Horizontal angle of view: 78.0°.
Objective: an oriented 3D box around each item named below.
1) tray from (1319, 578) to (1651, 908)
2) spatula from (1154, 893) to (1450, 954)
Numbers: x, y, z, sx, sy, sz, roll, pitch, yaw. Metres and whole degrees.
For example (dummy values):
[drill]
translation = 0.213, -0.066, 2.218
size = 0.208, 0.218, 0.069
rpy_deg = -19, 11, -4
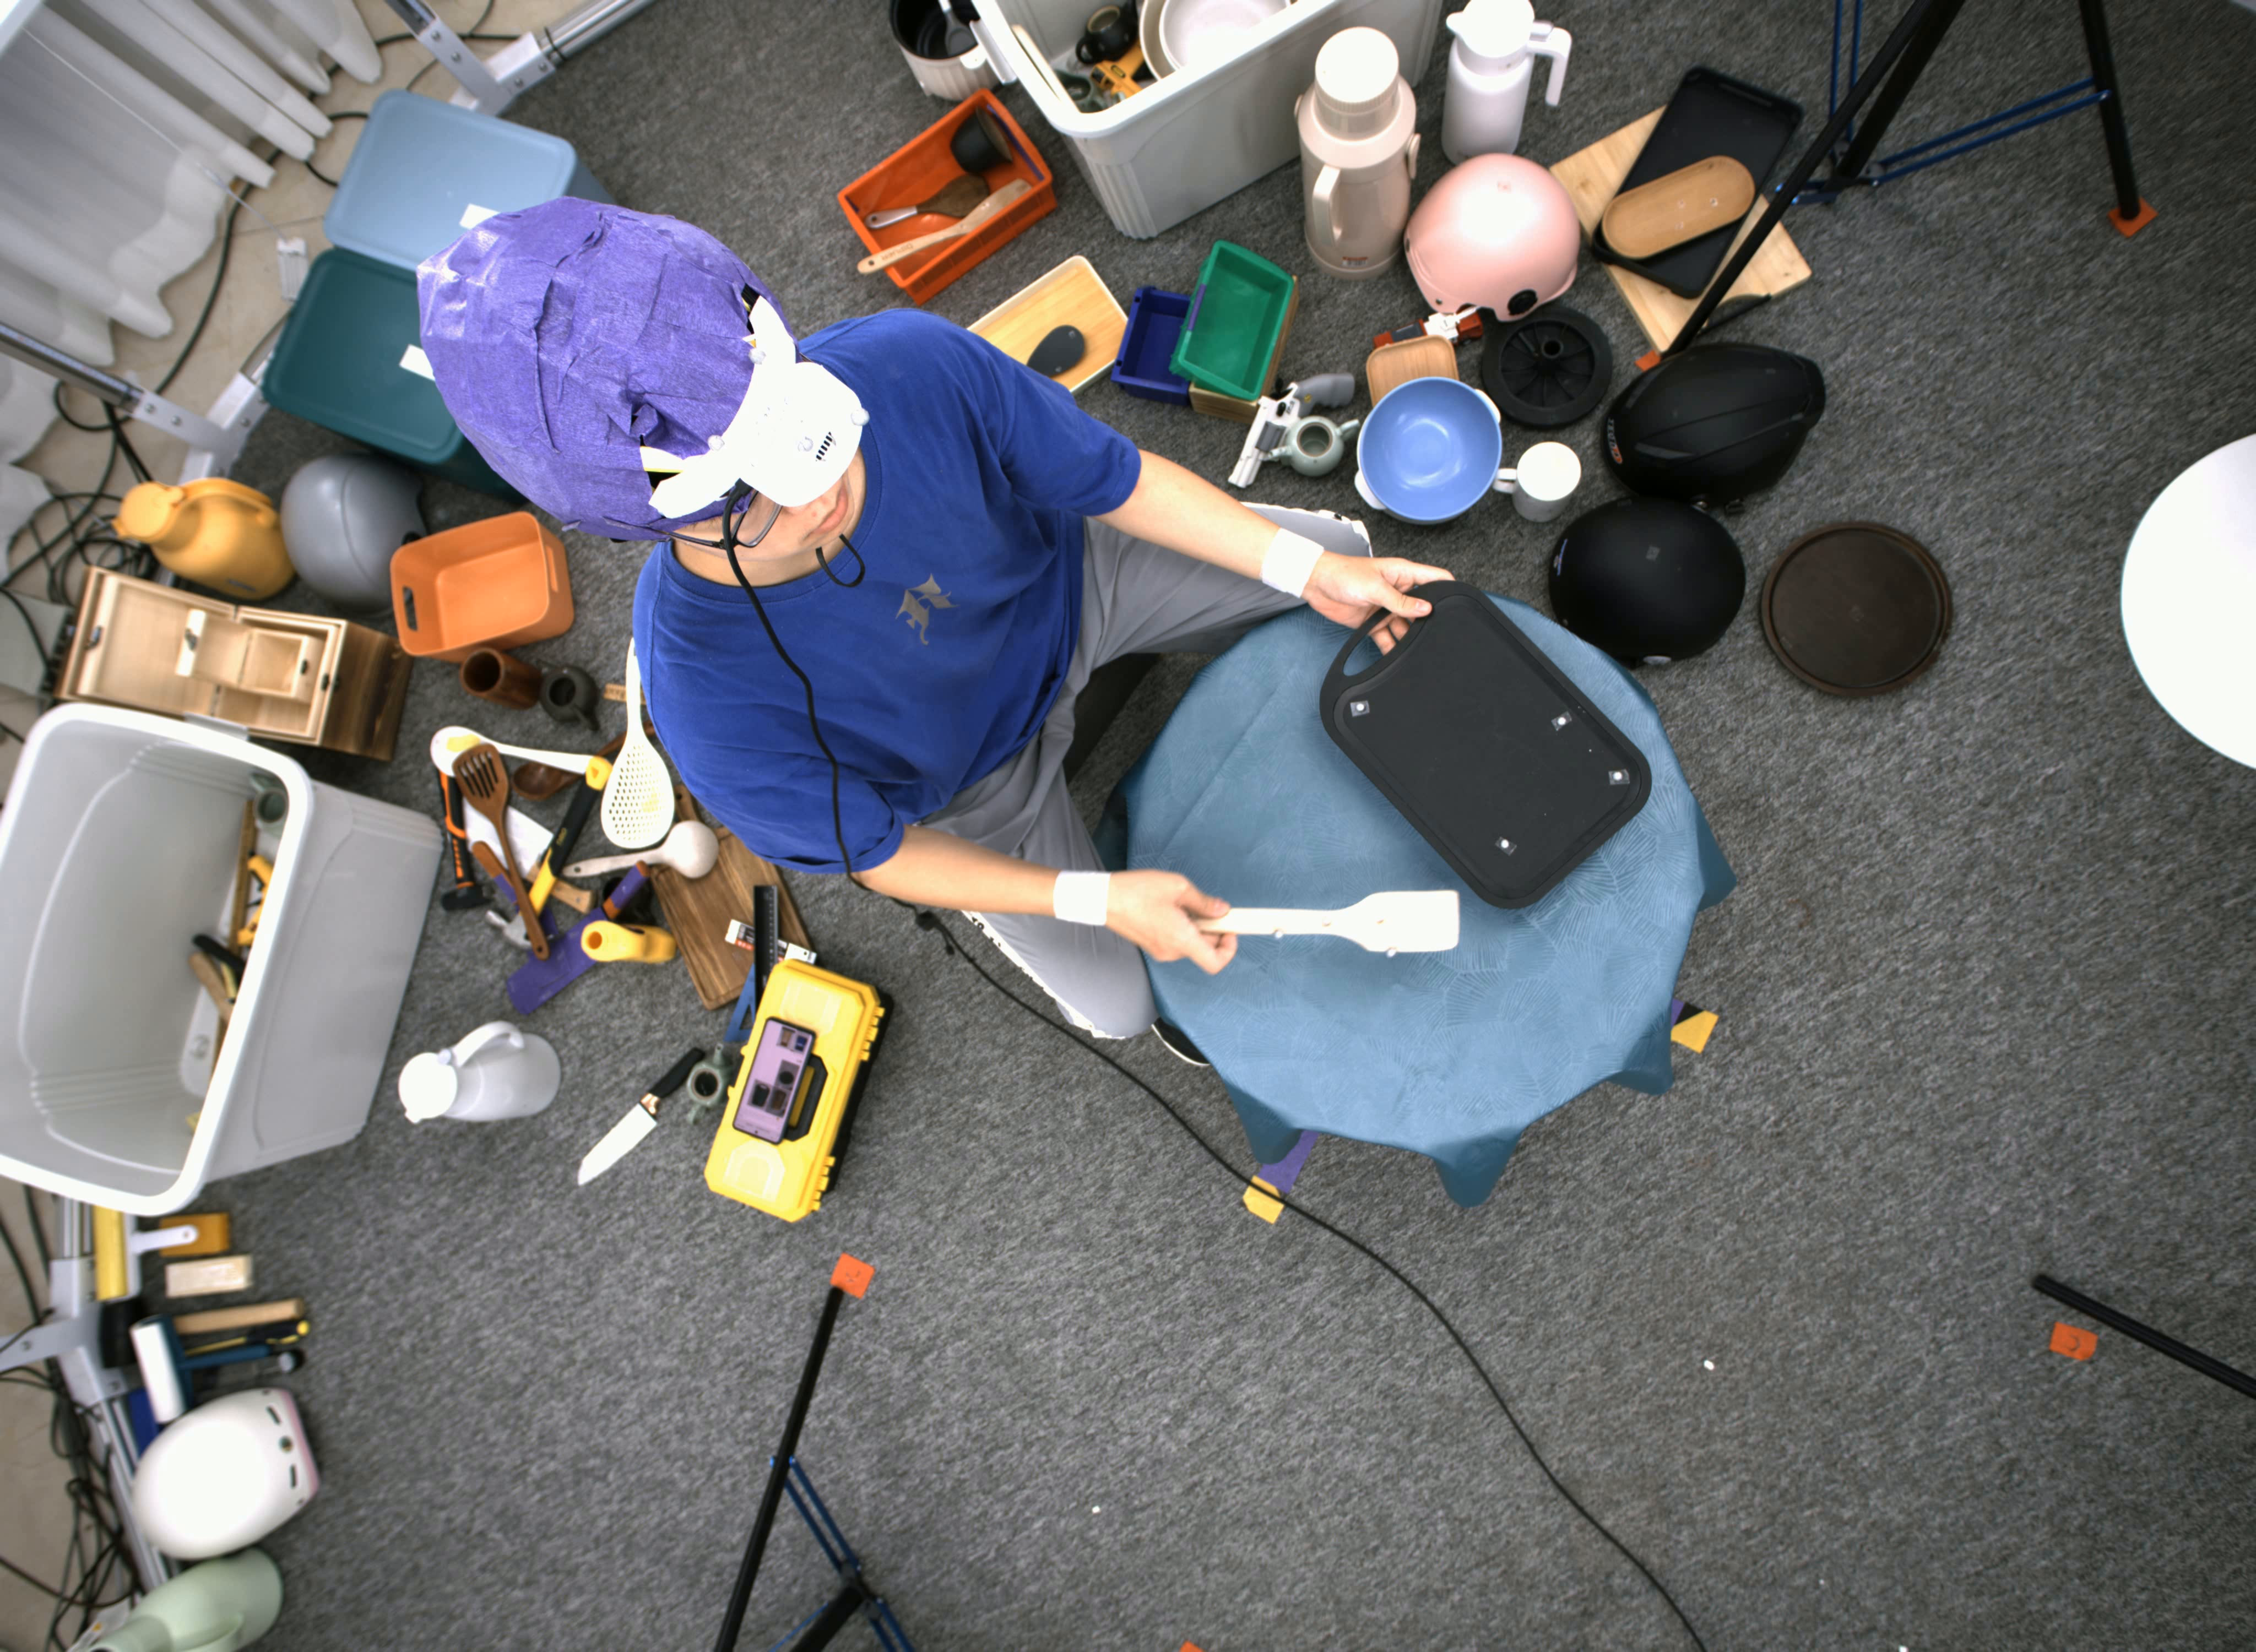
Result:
[tray]
translation = 0.344, -0.091, 1.365
size = 0.213, 0.010, 0.324
rpy_deg = -43, 80, 15
[spatula]
translation = 0.170, 0.095, 1.371
size = 0.294, 0.011, 0.070
rpy_deg = -1, 51, 13
